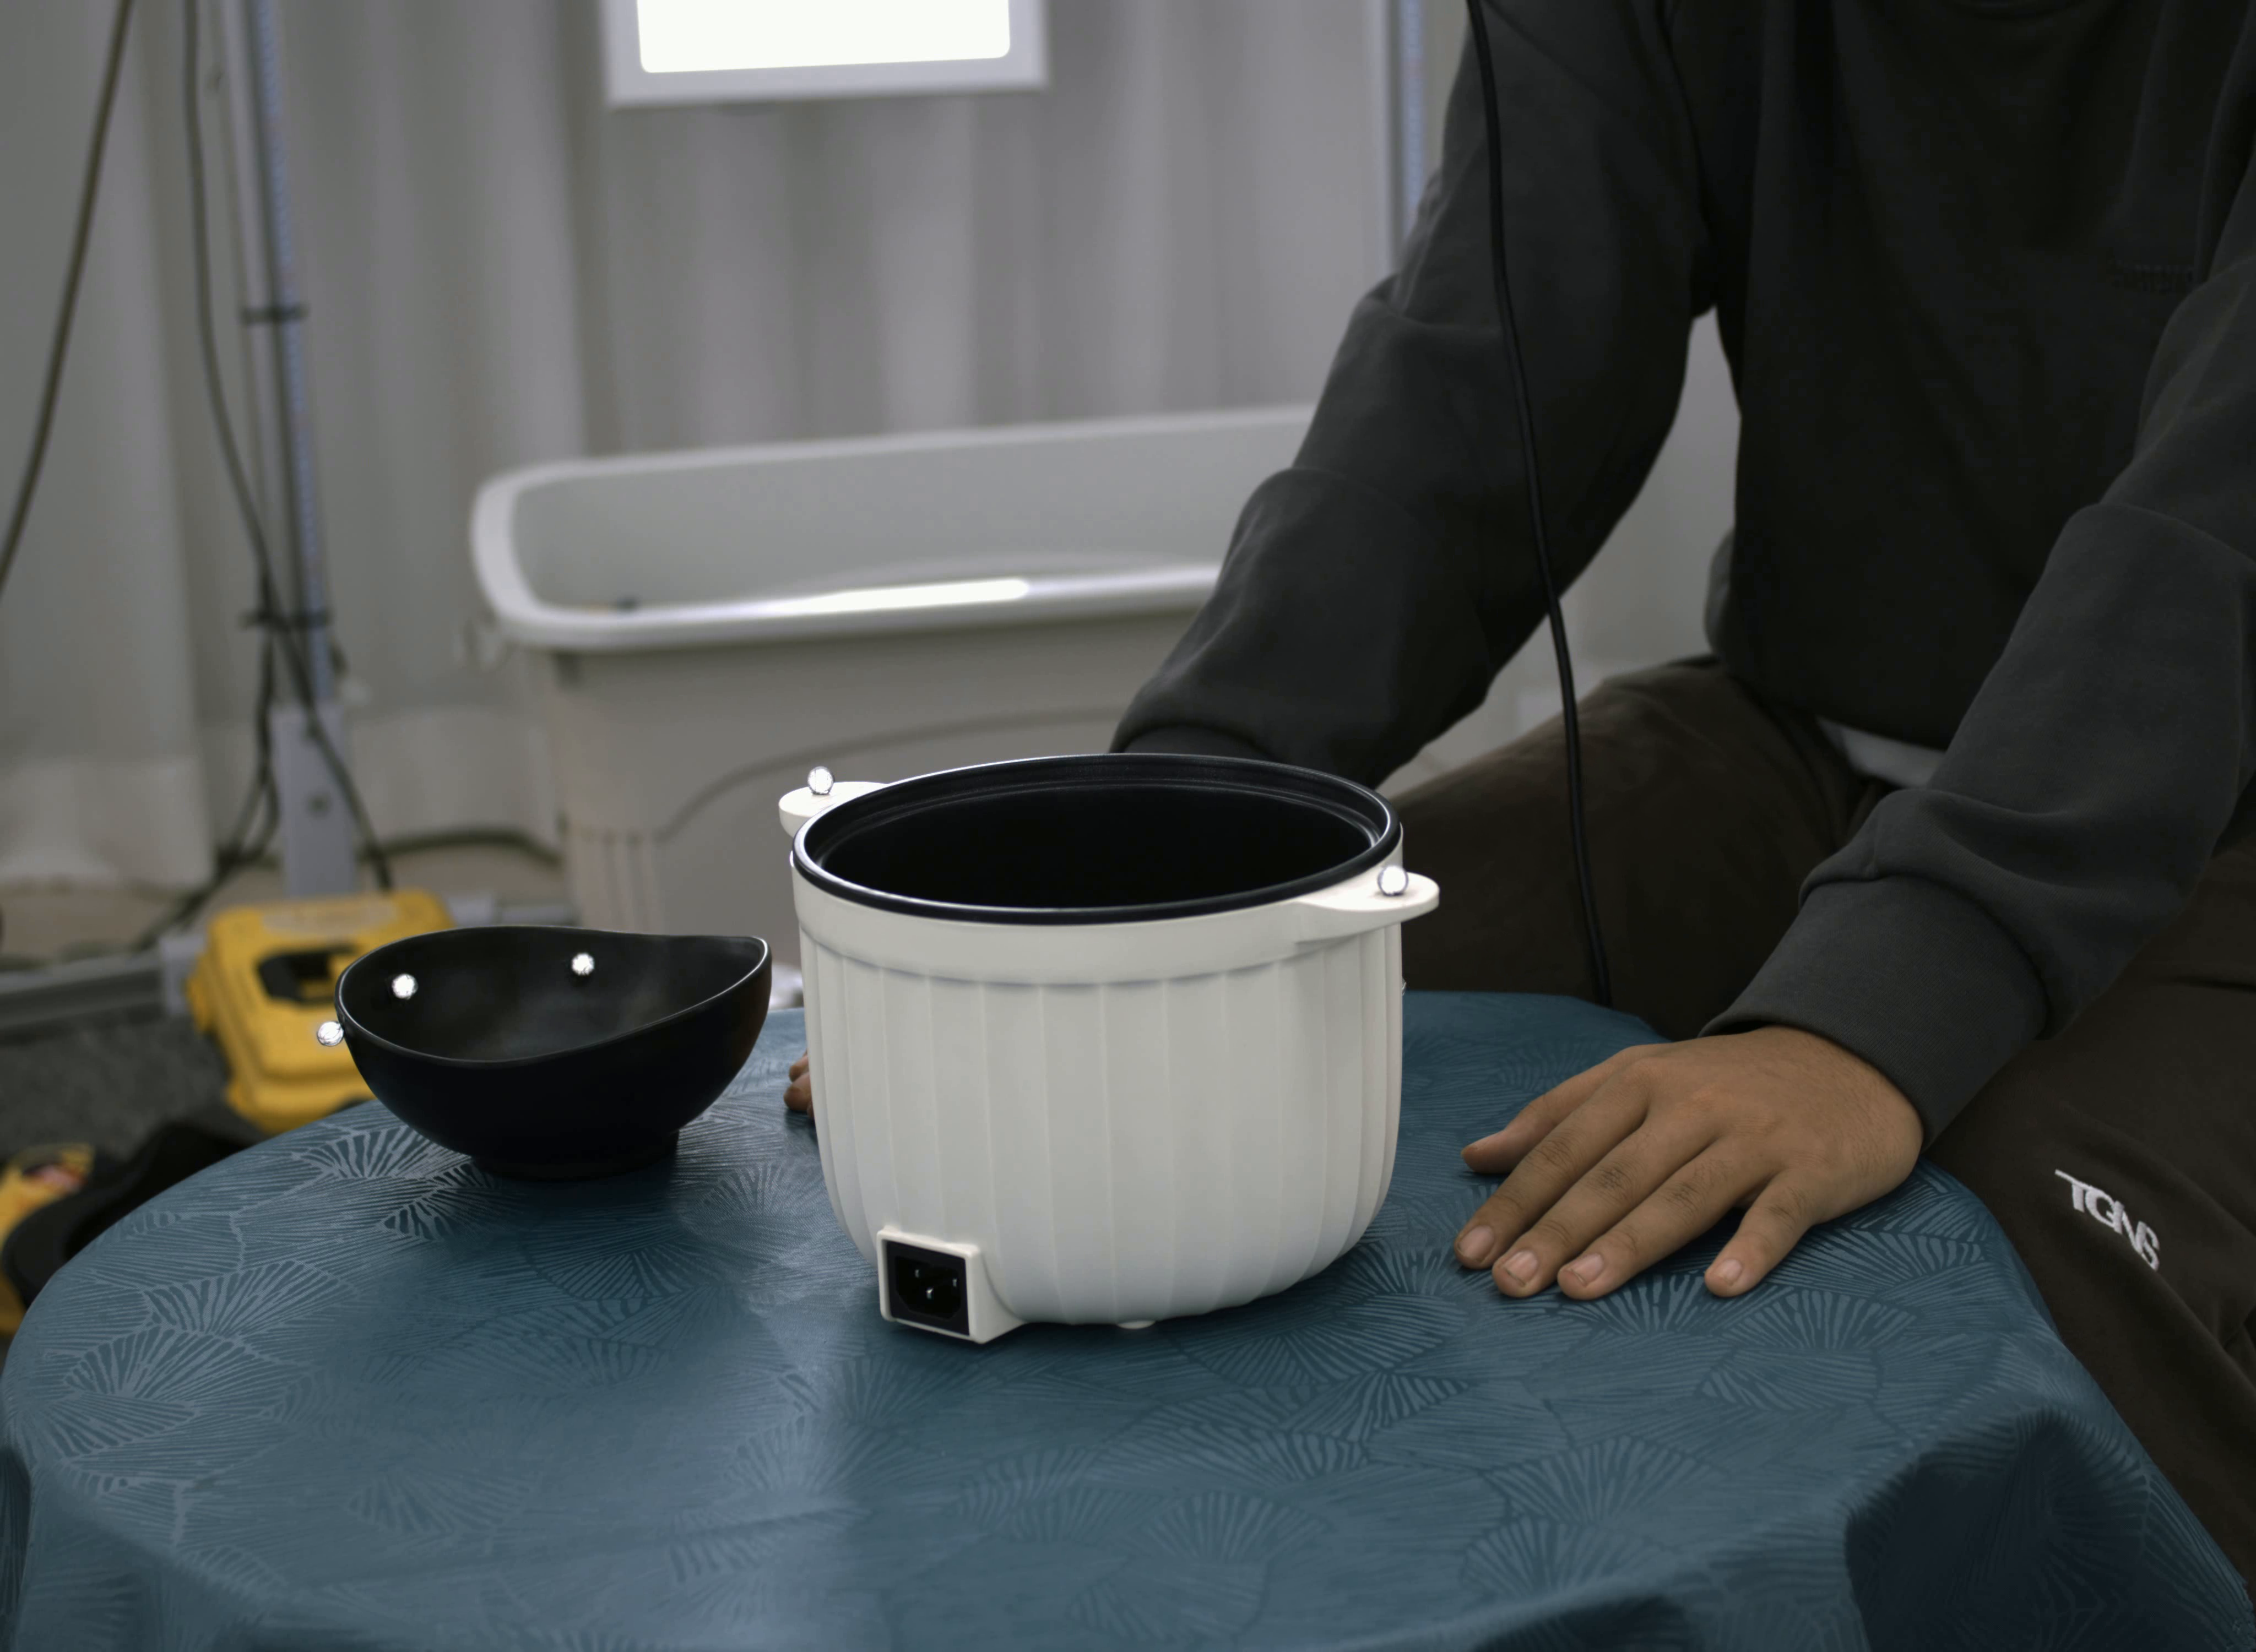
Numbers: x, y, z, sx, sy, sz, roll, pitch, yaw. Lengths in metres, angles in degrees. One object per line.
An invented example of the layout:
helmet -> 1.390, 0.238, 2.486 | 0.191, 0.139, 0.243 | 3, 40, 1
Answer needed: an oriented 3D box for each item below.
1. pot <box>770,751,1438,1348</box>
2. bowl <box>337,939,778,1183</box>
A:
pot -> -0.005, 0.064, 1.643 | 0.241, 0.142, 0.190 | 10, 22, 37
bowl -> -0.181, 0.076, 1.771 | 0.137, 0.066, 0.171 | 2, 14, 16
